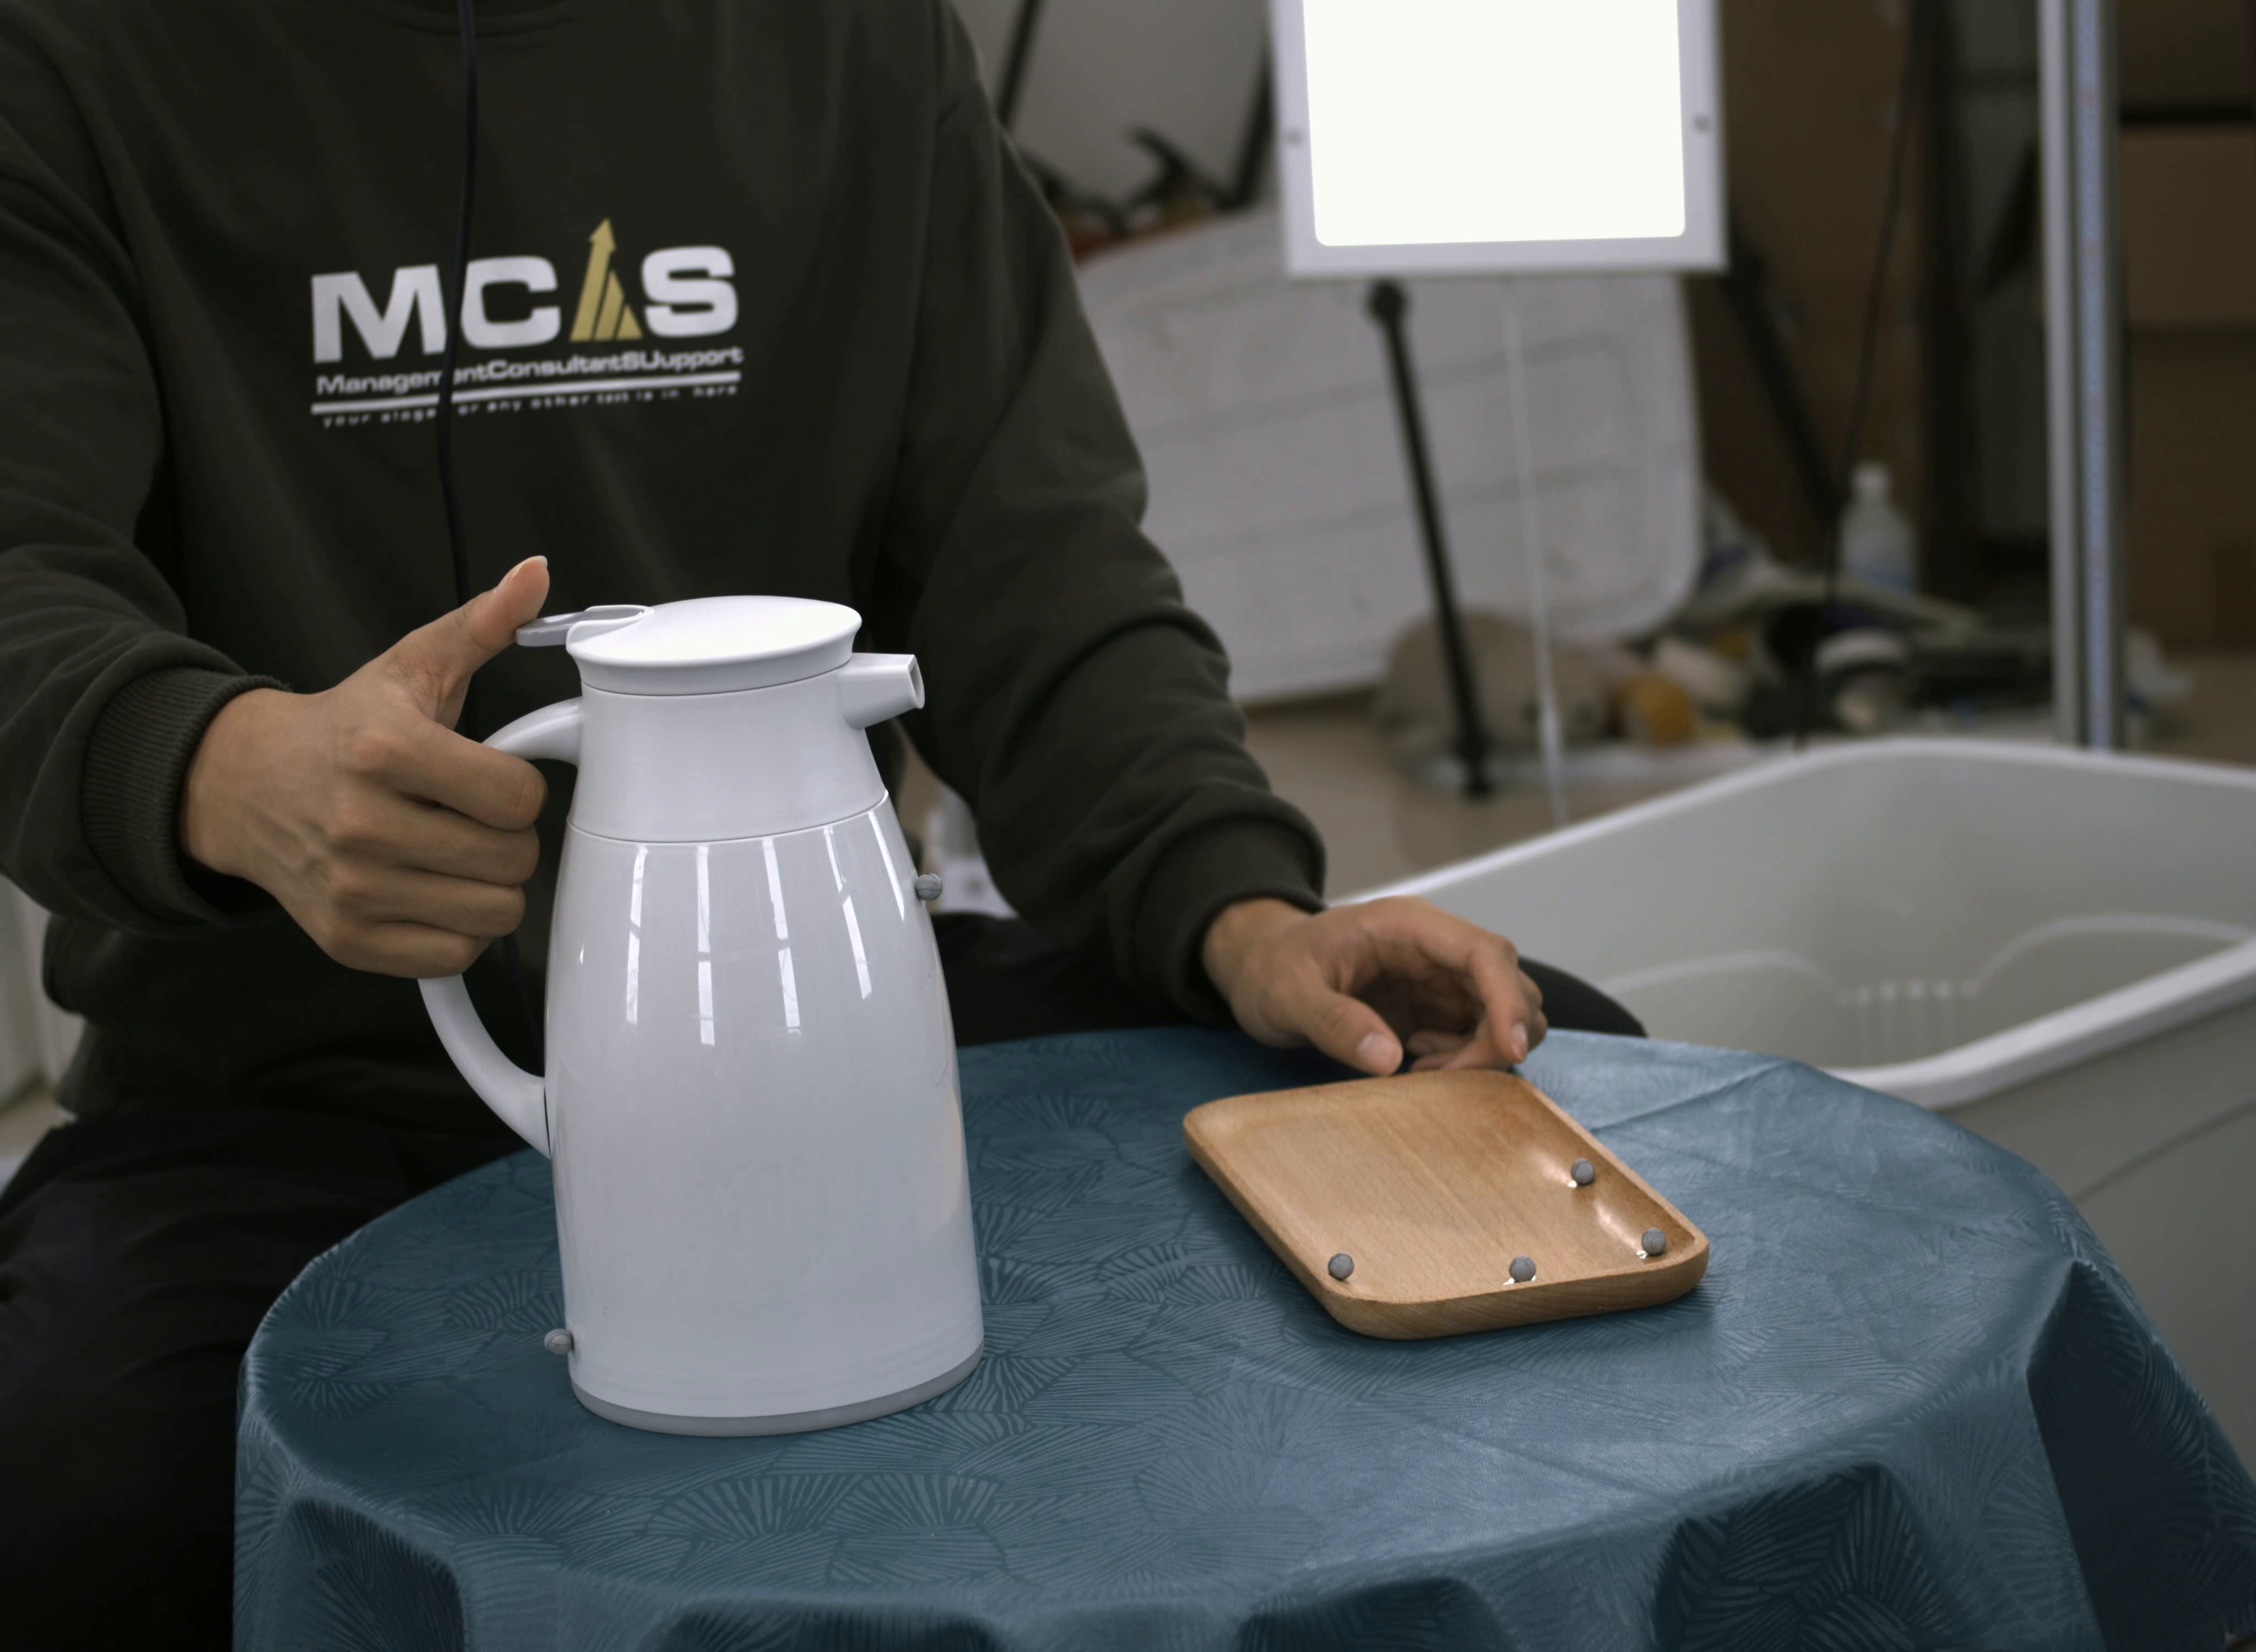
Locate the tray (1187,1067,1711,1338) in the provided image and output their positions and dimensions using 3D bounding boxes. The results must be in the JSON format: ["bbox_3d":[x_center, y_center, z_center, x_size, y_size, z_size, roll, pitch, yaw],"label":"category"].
[{"bbox_3d":[0.104,0.124,1.841,0.129,0.023,0.252,-5,12,-10],"label":"tray"}]

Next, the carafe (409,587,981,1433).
[{"bbox_3d":[-0.139,0.052,1.723,0.168,0.249,0.132,-3,14,6],"label":"carafe"}]
